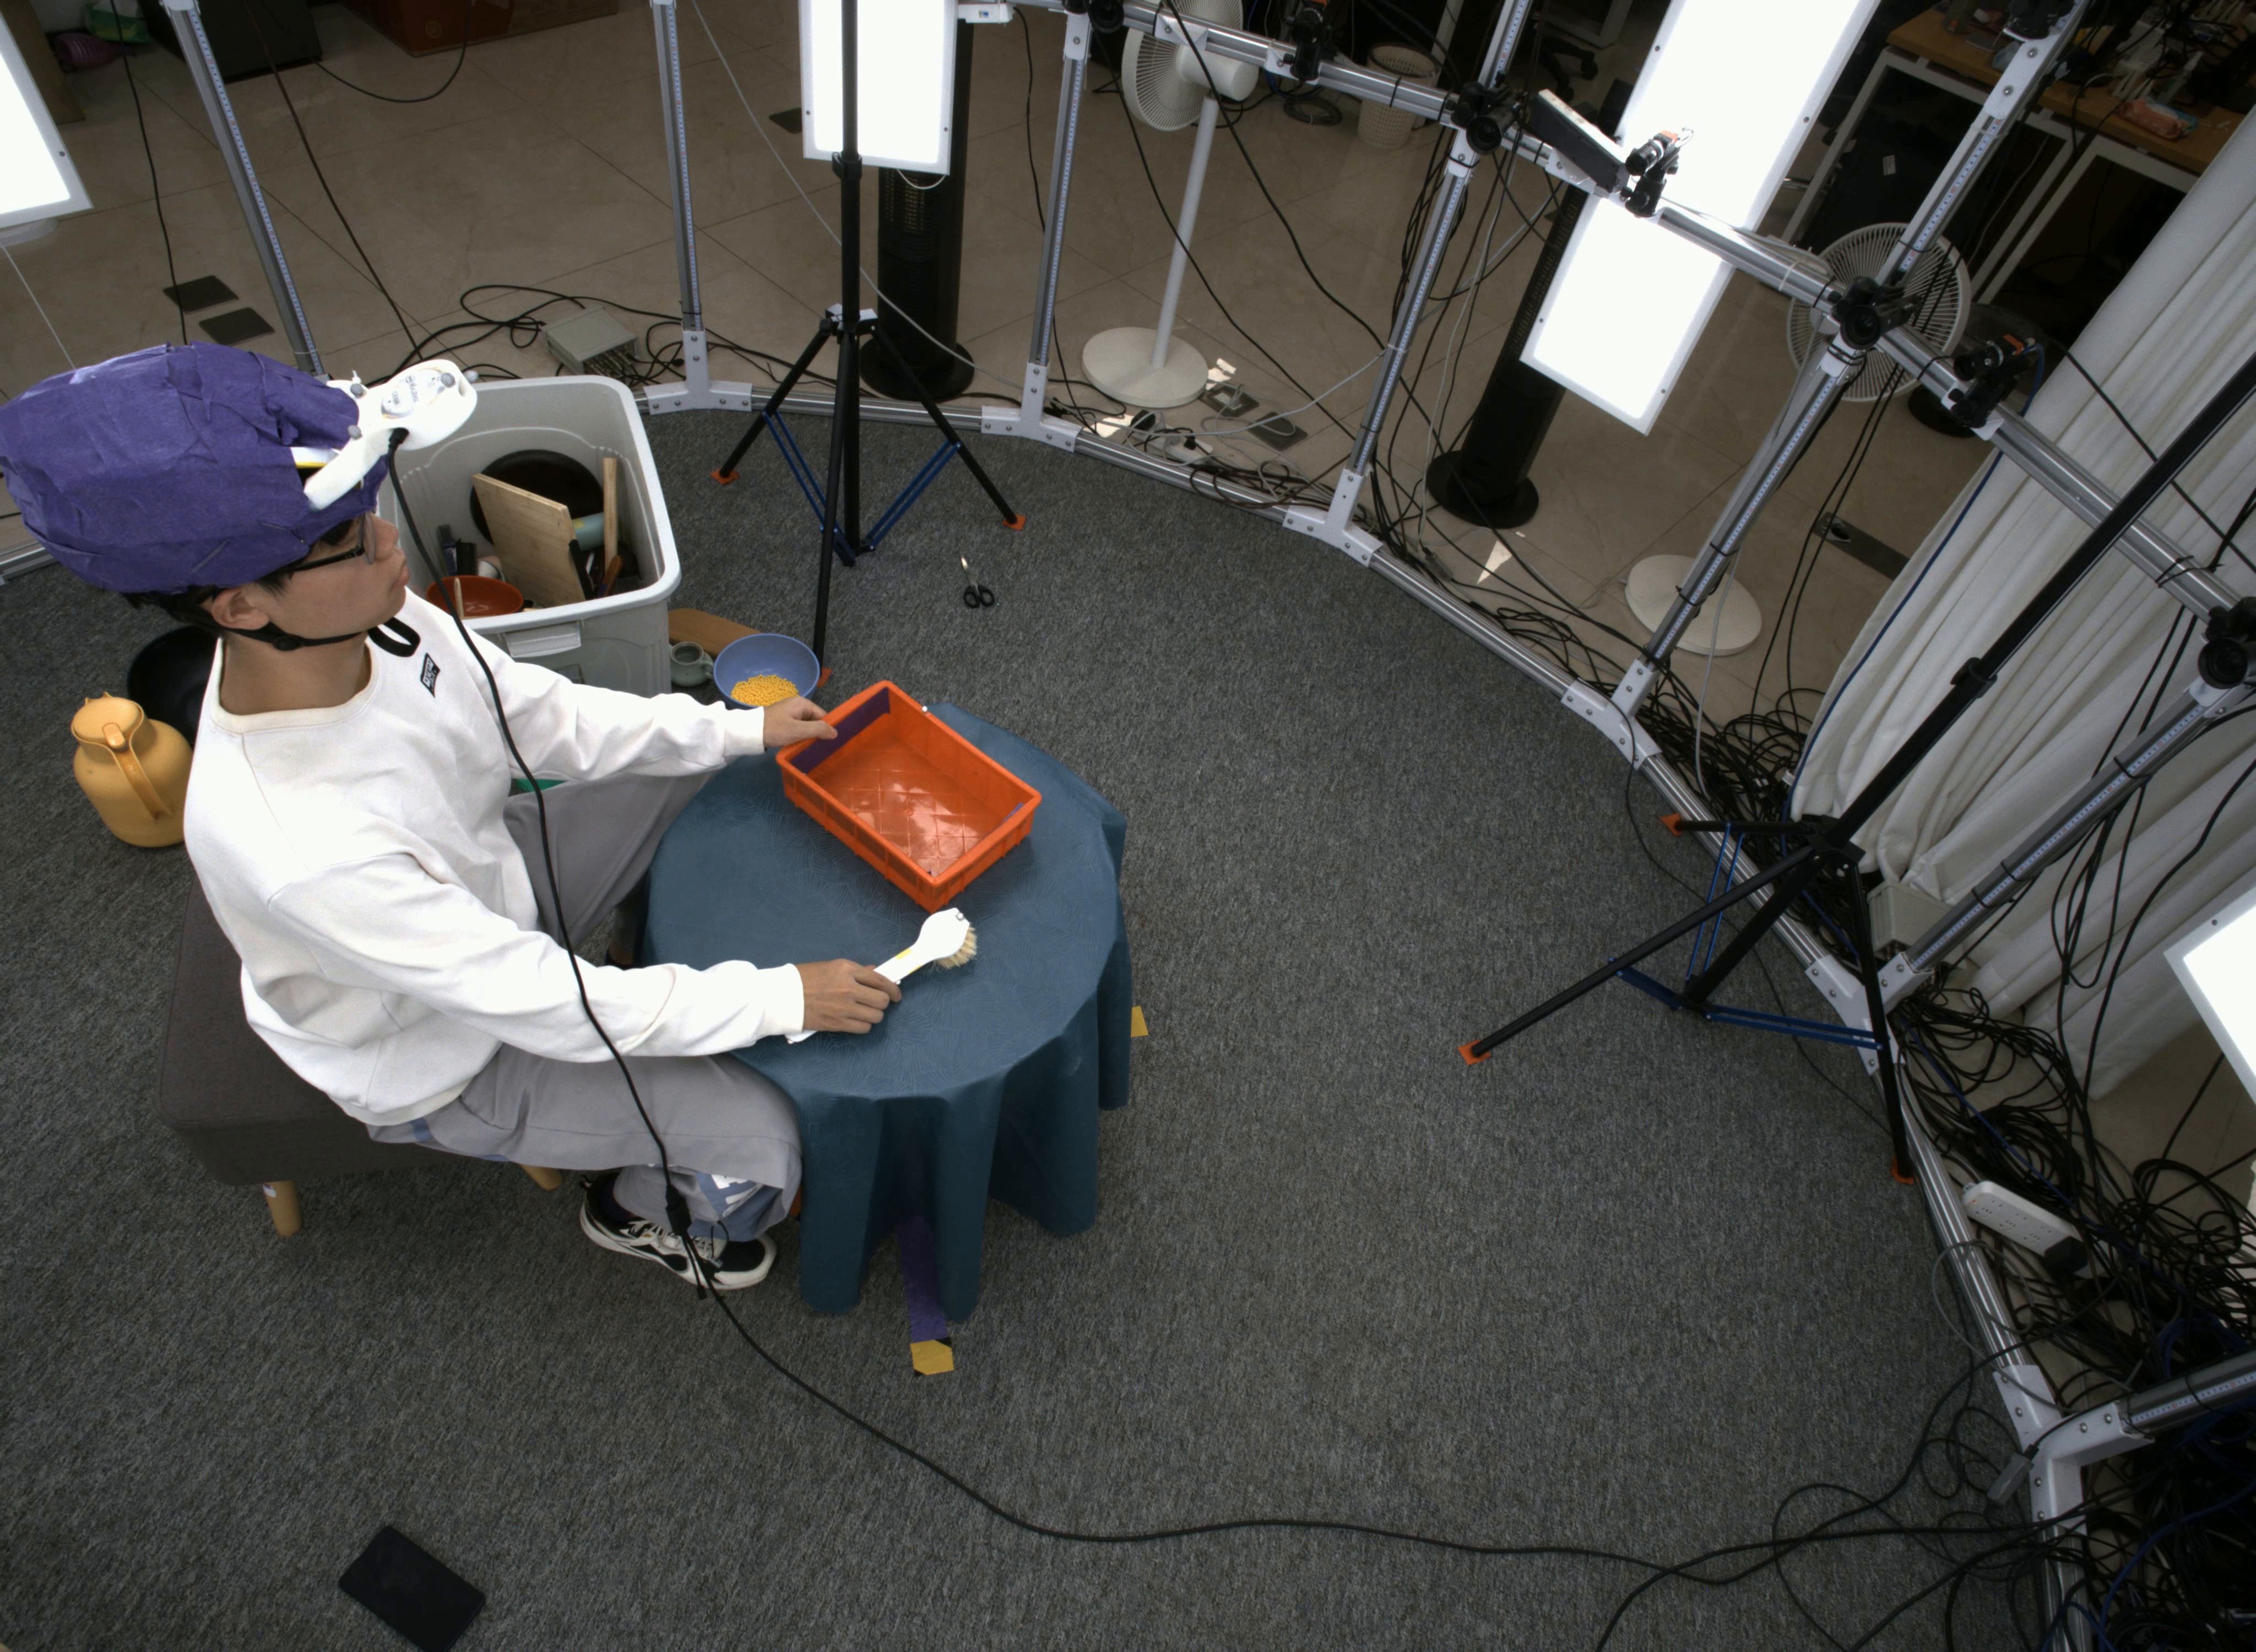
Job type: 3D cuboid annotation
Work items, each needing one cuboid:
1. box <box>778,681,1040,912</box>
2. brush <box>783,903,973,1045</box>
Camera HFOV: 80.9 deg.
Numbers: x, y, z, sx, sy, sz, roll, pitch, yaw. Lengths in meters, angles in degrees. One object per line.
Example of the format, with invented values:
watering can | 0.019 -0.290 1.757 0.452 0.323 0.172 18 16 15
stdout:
box | -0.291 -0.037 1.739 0.296 0.099 0.206 36 55 17
brush | -0.307 0.191 1.609 0.266 0.058 0.066 -38 53 -15
